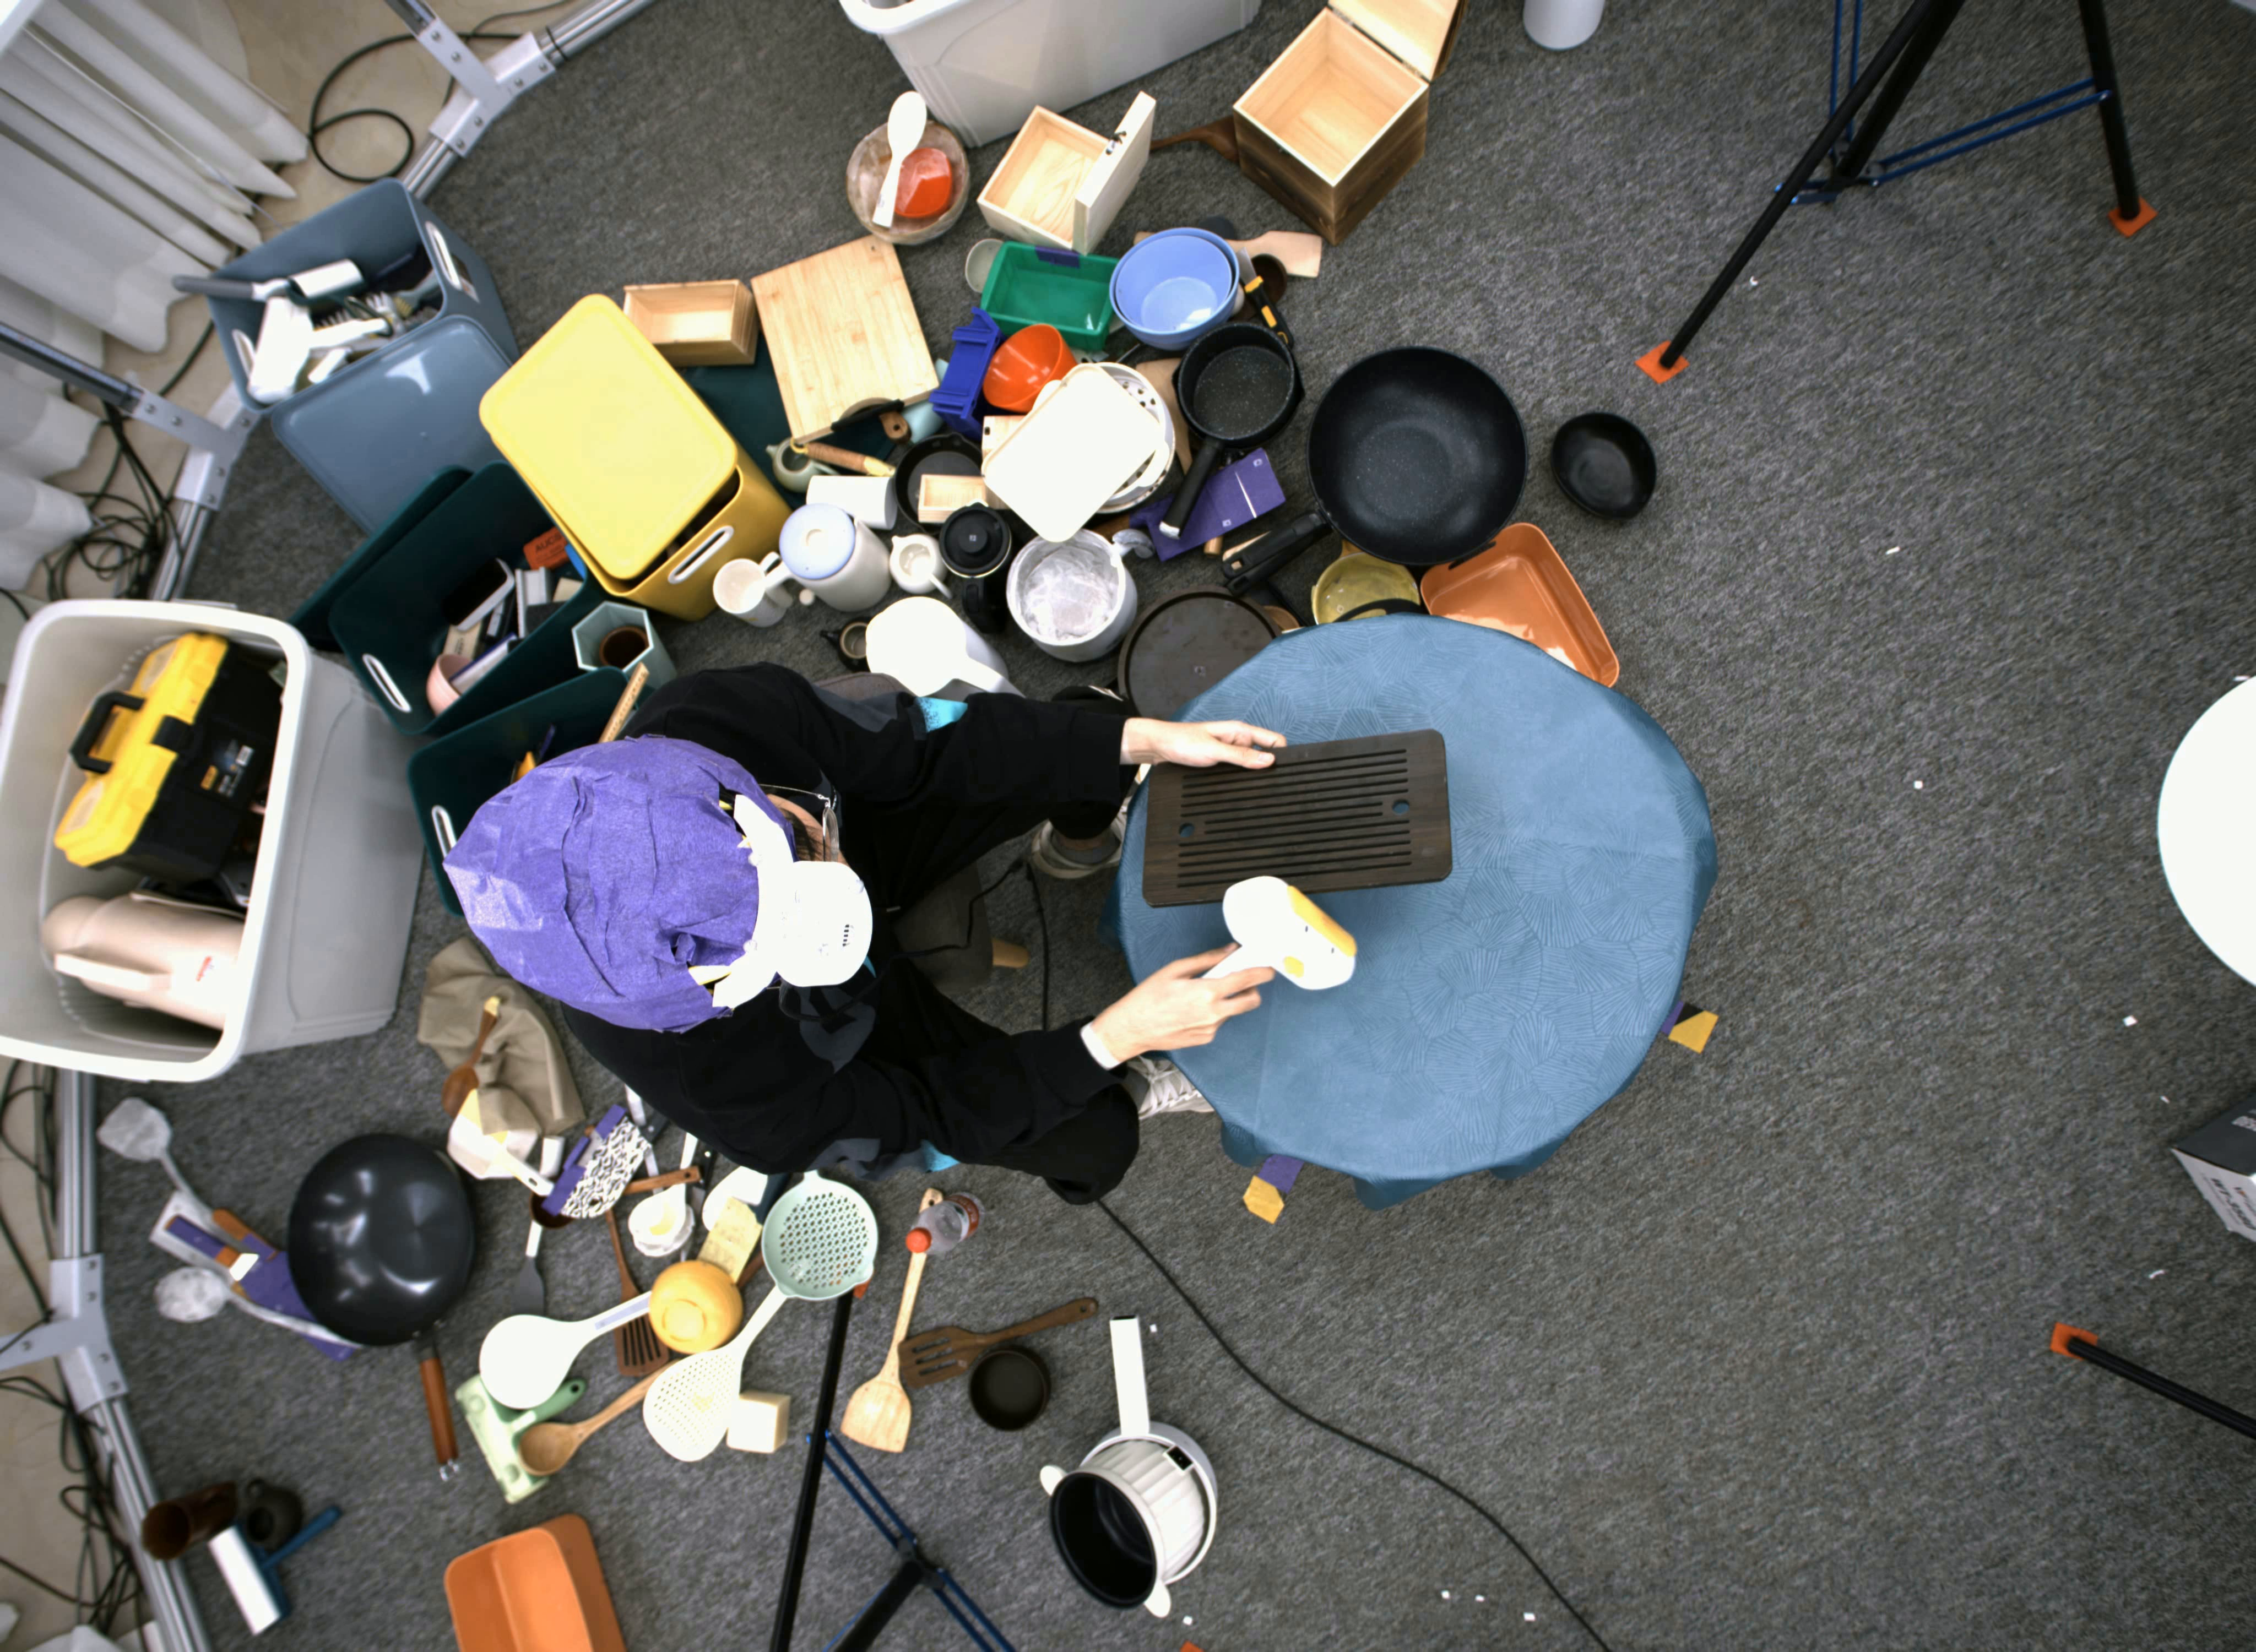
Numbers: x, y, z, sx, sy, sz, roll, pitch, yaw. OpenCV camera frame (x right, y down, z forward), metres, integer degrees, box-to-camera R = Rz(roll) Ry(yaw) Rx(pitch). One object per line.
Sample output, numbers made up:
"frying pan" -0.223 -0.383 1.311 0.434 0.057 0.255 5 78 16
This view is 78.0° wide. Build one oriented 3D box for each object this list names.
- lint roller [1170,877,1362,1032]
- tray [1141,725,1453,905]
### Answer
"lint roller" 0.117 0.137 1.365 0.195 0.194 0.072 -31 54 26
"tray" 0.163 -0.009 1.369 0.308 0.019 0.166 -7 60 18
